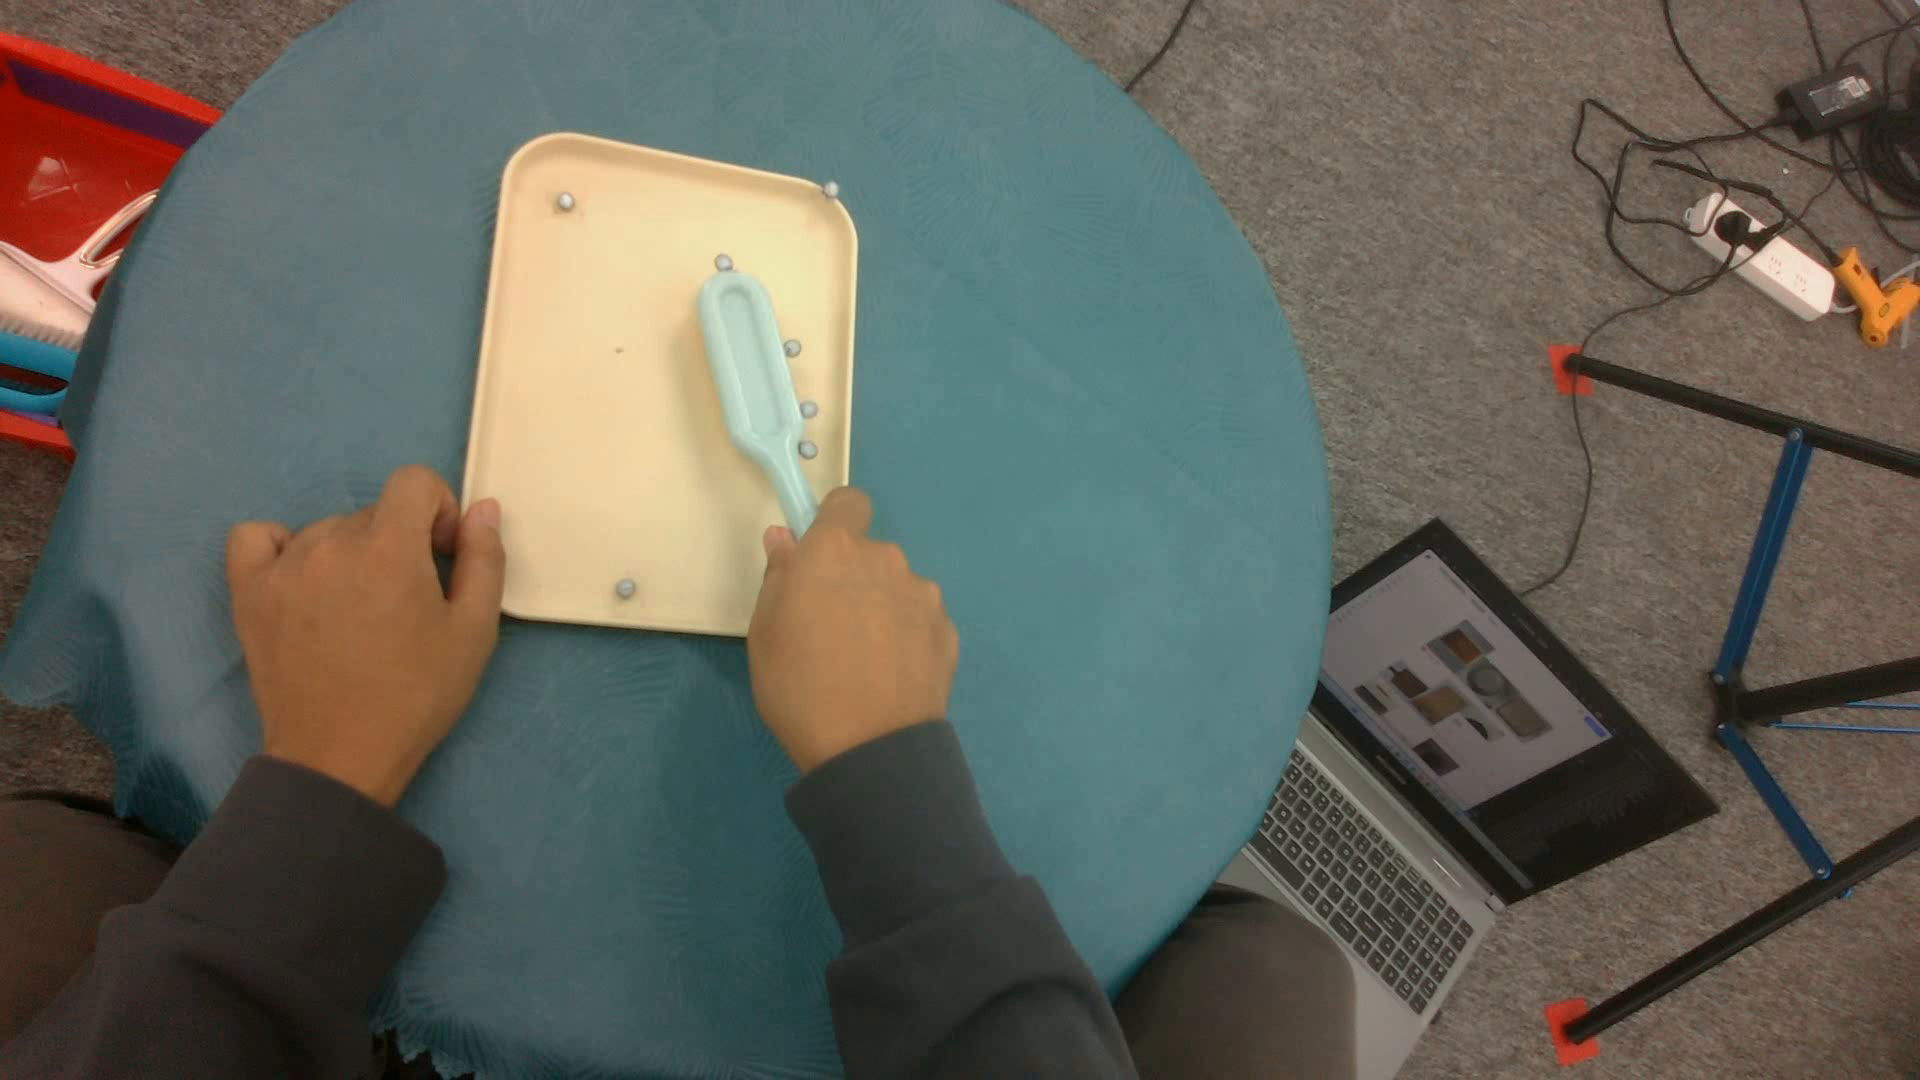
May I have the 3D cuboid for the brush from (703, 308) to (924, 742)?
[{"bbox_3d":[-0.068,-0.008,0.634,0.038,0.049,0.229,-17,64,-20],"label":"brush"}]

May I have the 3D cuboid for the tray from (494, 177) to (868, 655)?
[{"bbox_3d":[-0.130,-0.061,0.665,0.171,0.017,0.240,4,71,-16],"label":"tray"}]
